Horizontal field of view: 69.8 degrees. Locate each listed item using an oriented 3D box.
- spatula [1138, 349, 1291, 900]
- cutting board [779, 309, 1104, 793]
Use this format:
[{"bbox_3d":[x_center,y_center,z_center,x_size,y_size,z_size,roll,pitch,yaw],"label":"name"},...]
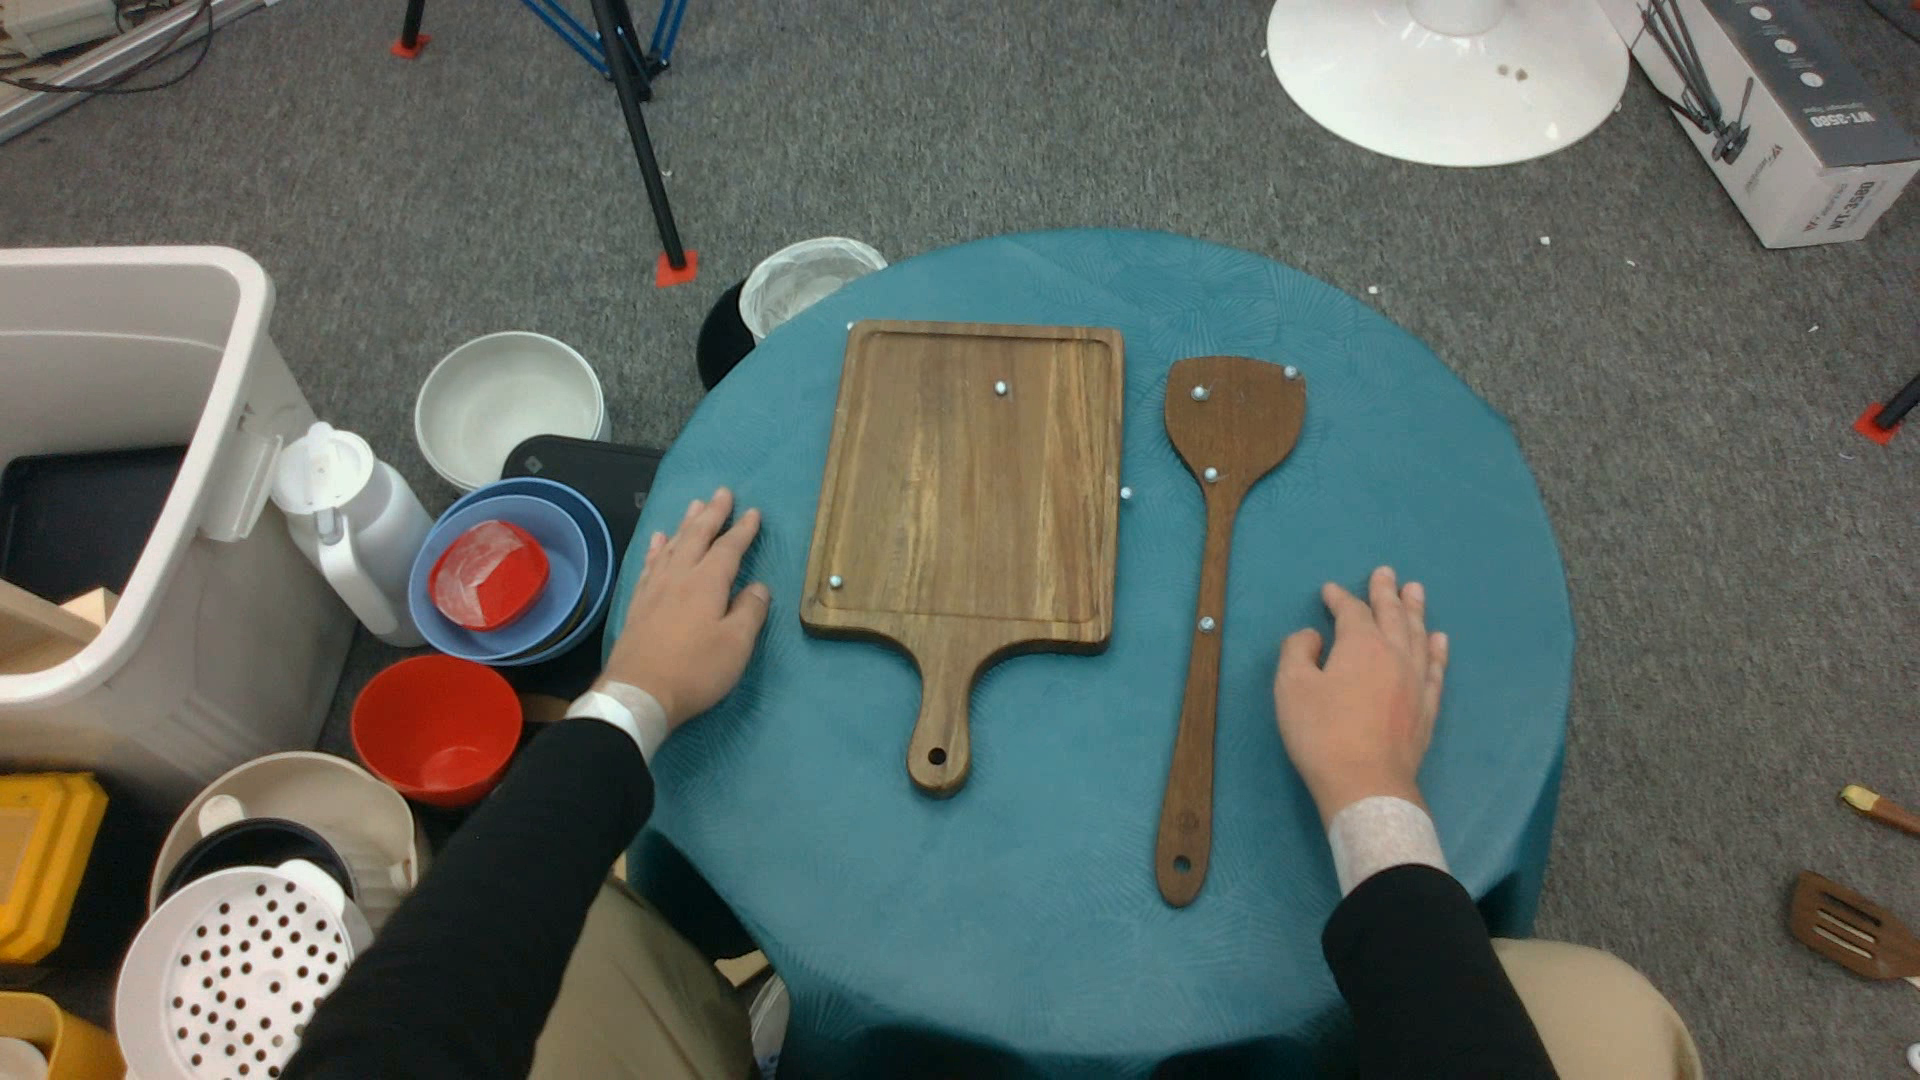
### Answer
[{"bbox_3d":[0.147,0.033,0.856,0.096,0.016,0.387,8,59,8],"label":"spatula"},{"bbox_3d":[-0.010,-0.008,0.883,0.201,0.023,0.353,3,59,4],"label":"cutting board"}]
